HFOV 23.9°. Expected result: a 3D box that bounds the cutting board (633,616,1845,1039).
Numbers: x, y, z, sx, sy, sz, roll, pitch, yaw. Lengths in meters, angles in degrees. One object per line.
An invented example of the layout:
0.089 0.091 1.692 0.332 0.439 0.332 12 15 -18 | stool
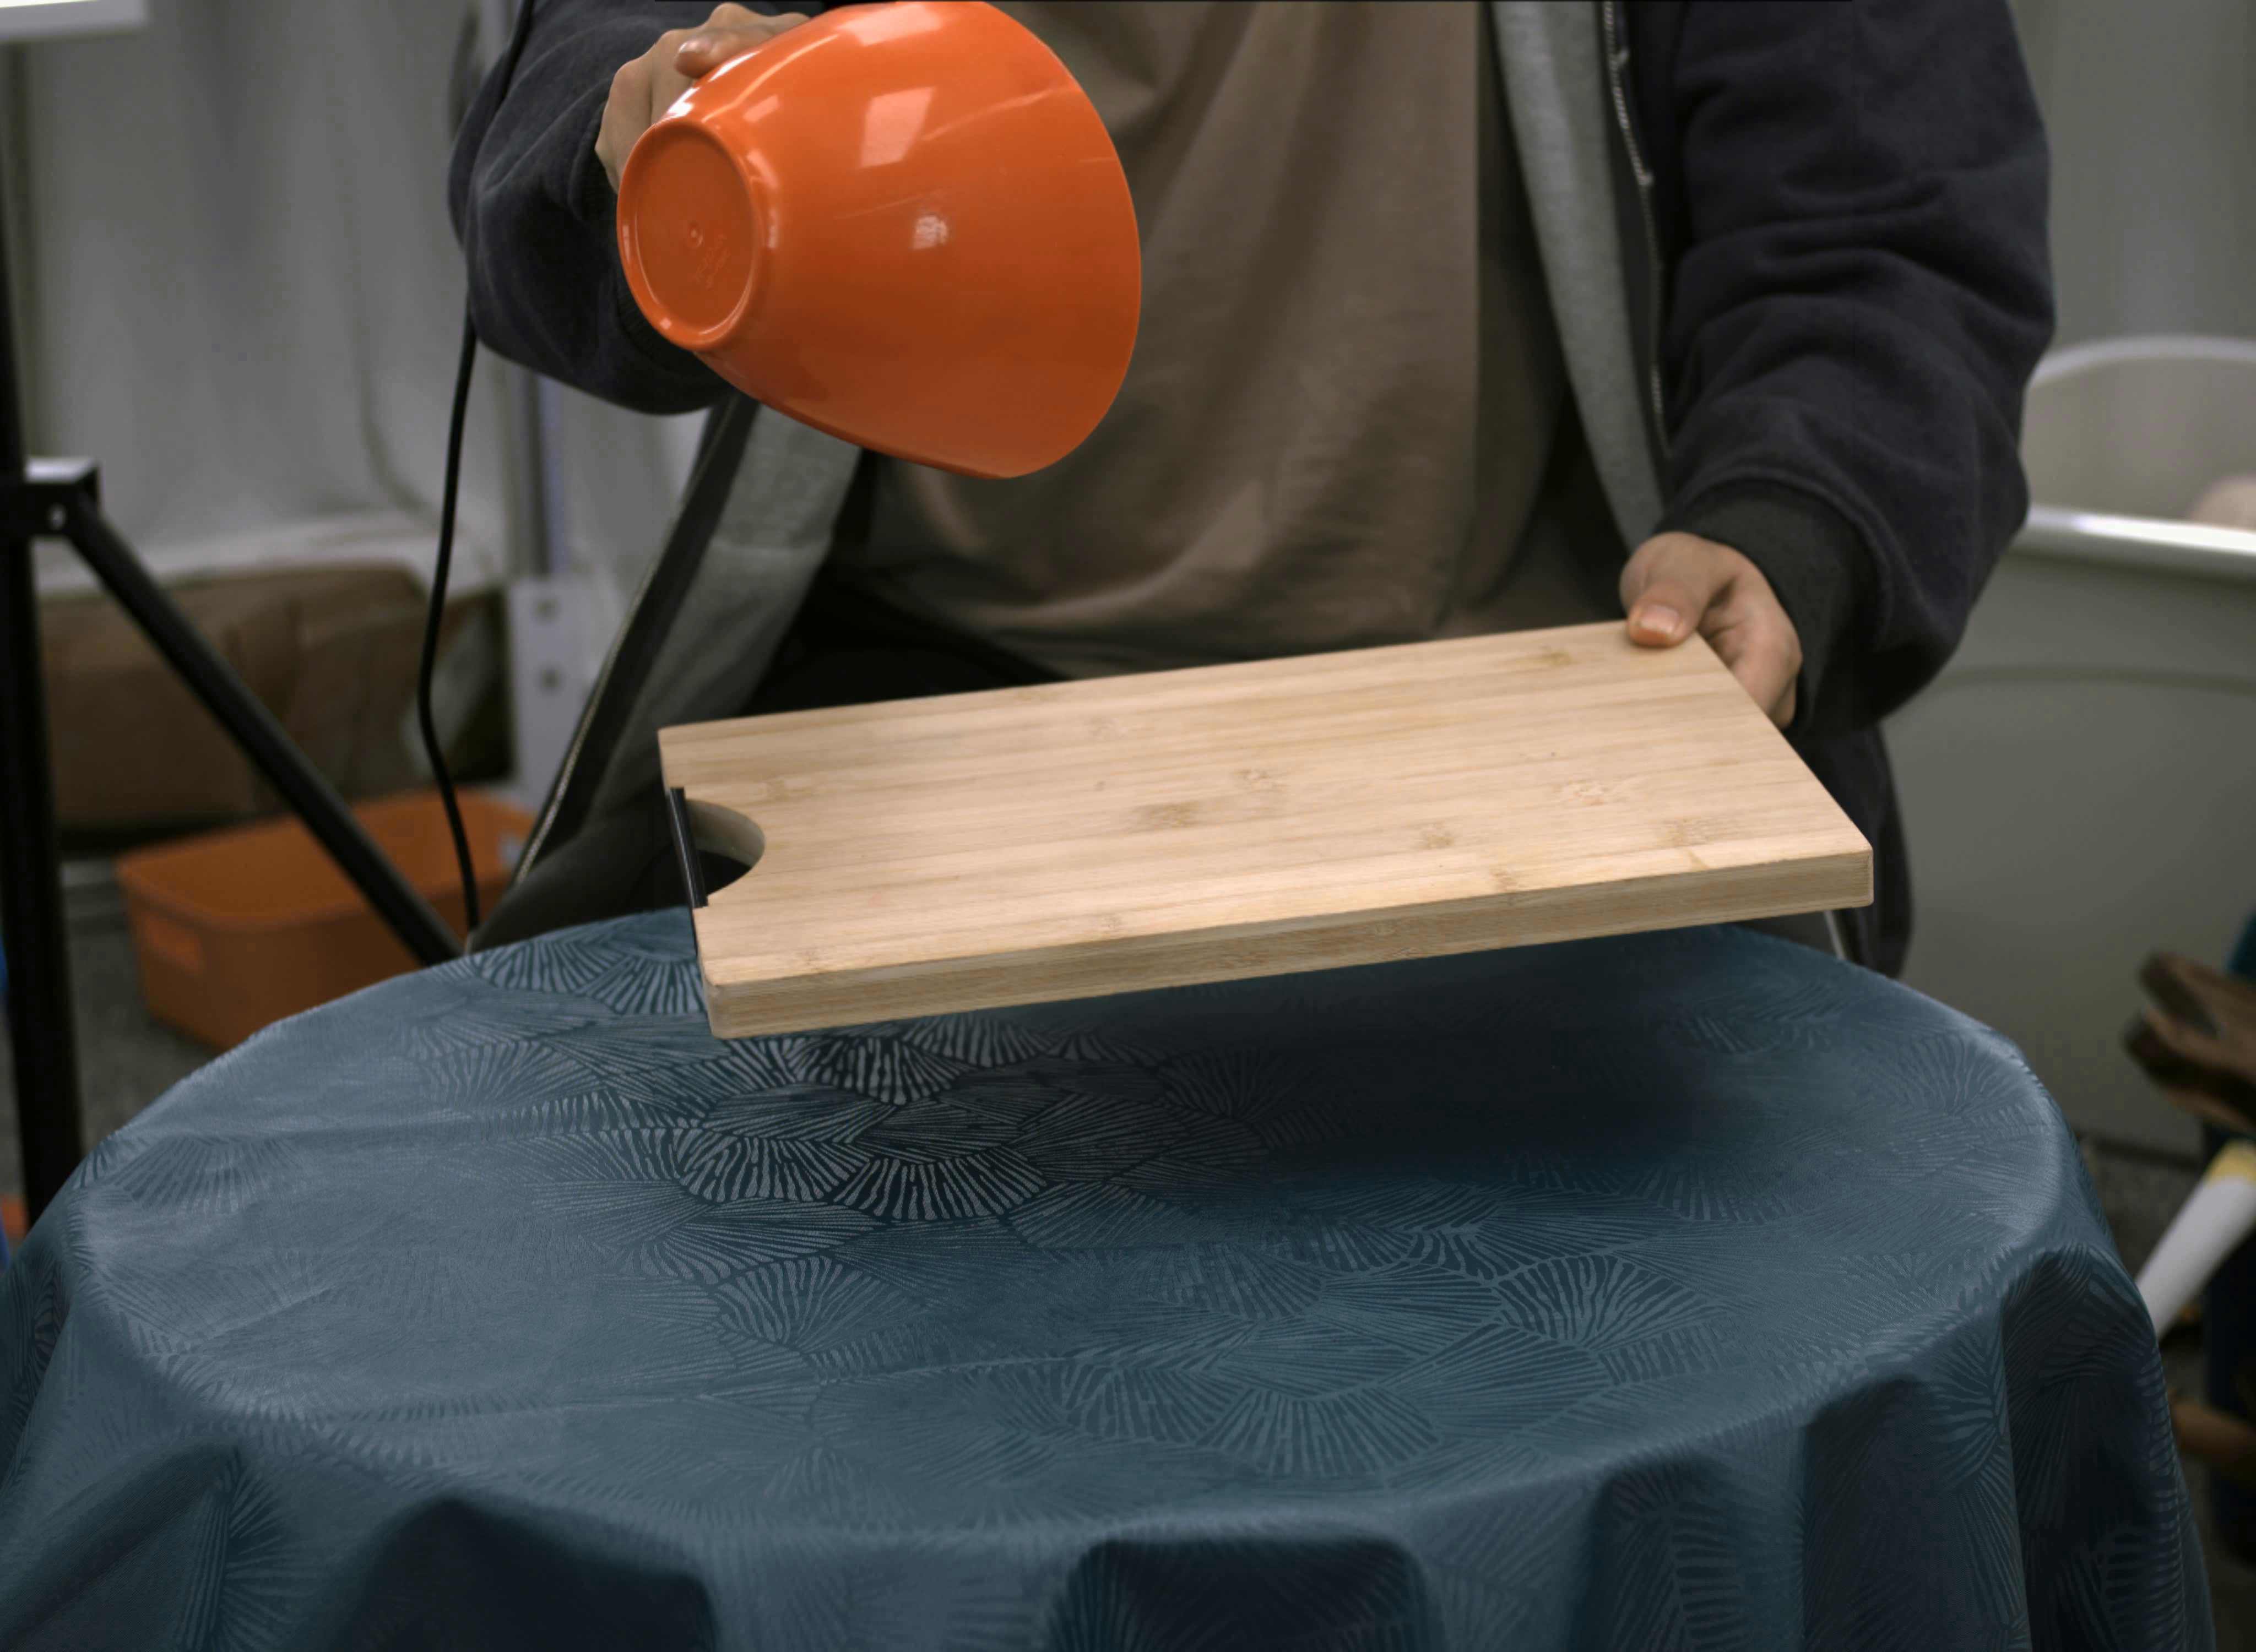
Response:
0.026 -0.003 1.630 0.345 0.023 0.253 -7 19 -5 | cutting board

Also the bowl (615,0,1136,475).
-0.083 -0.170 1.550 0.102 0.148 0.151 -12 18 -38 | bowl
